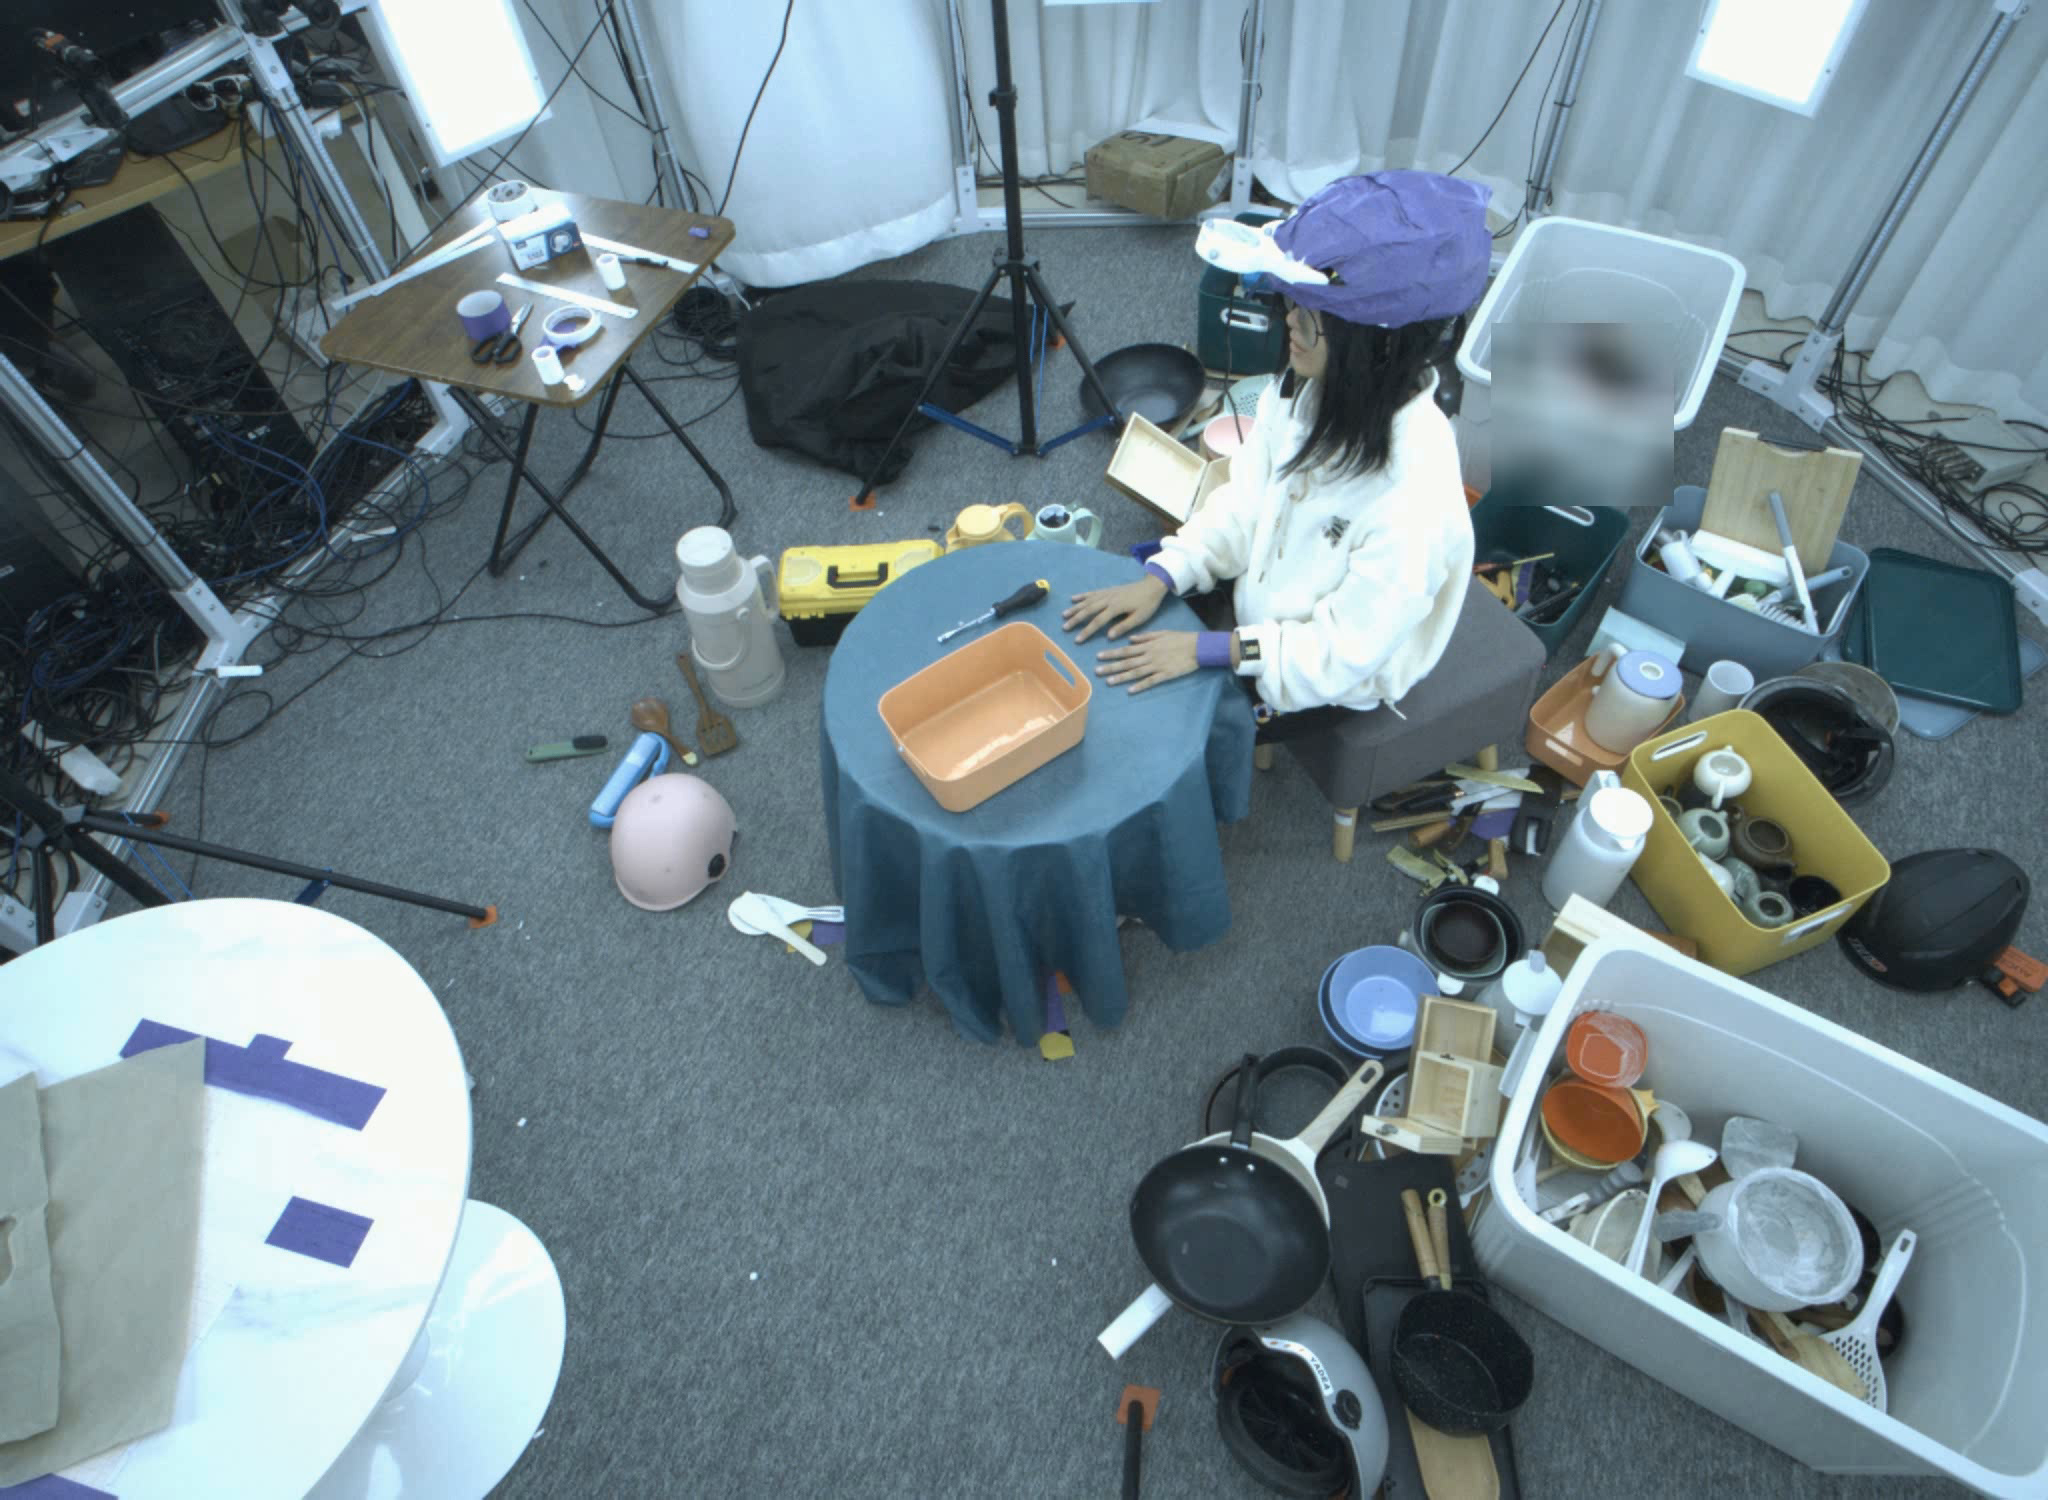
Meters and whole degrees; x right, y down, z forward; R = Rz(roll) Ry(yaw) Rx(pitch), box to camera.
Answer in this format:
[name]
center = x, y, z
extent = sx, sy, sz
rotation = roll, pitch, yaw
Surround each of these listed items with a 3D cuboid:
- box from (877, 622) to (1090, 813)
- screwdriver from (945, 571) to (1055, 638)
[box]
center = -0.052, -0.043, 1.756
extent = 0.275, 0.104, 0.195
rotation = -32, 59, -18
[screwdriver]
center = -0.036, -0.223, 1.919
extent = 0.198, 0.032, 0.031
rotation = -34, 60, -10
